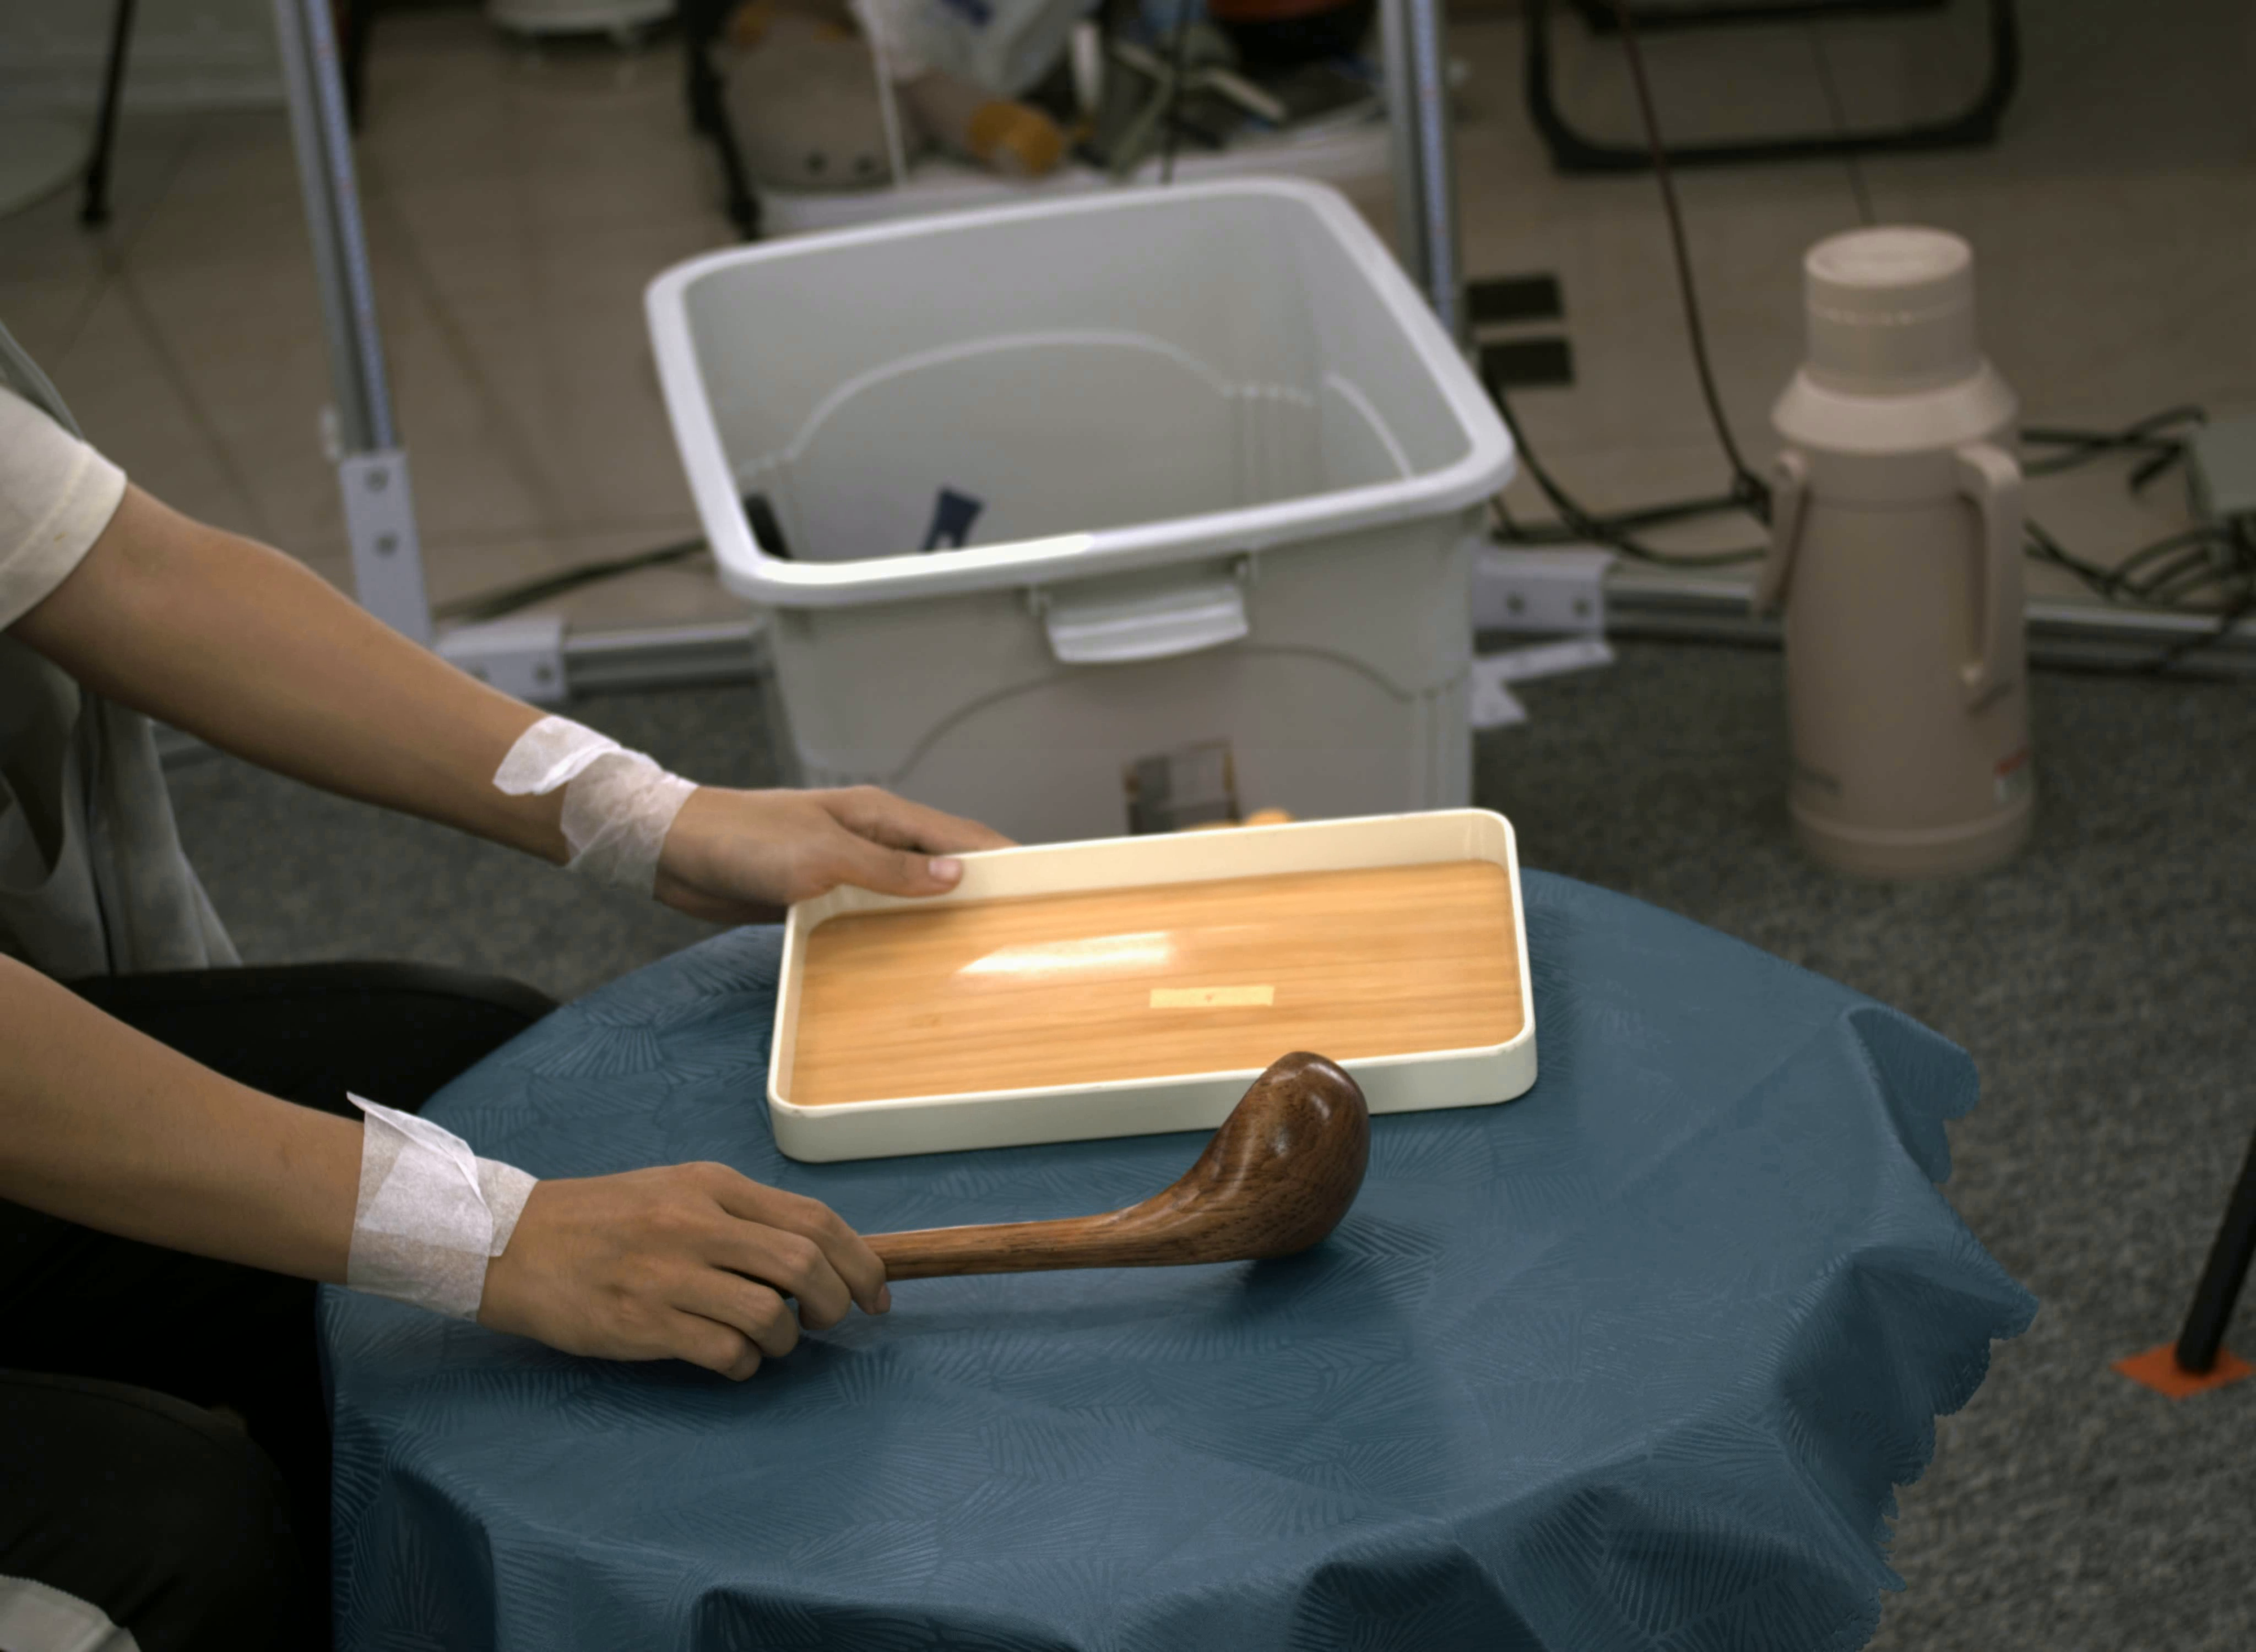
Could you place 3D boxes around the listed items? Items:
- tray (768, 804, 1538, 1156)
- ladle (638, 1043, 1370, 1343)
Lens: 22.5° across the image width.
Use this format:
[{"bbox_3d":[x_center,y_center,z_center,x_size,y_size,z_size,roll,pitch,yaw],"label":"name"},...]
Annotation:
[{"bbox_3d":[0.010,0.060,2.264,0.300,0.028,0.188,-5,31,4],"label":"tray"},{"bbox_3d":[-0.046,0.136,2.090,0.274,0.083,0.075,-9,39,7],"label":"ladle"}]
